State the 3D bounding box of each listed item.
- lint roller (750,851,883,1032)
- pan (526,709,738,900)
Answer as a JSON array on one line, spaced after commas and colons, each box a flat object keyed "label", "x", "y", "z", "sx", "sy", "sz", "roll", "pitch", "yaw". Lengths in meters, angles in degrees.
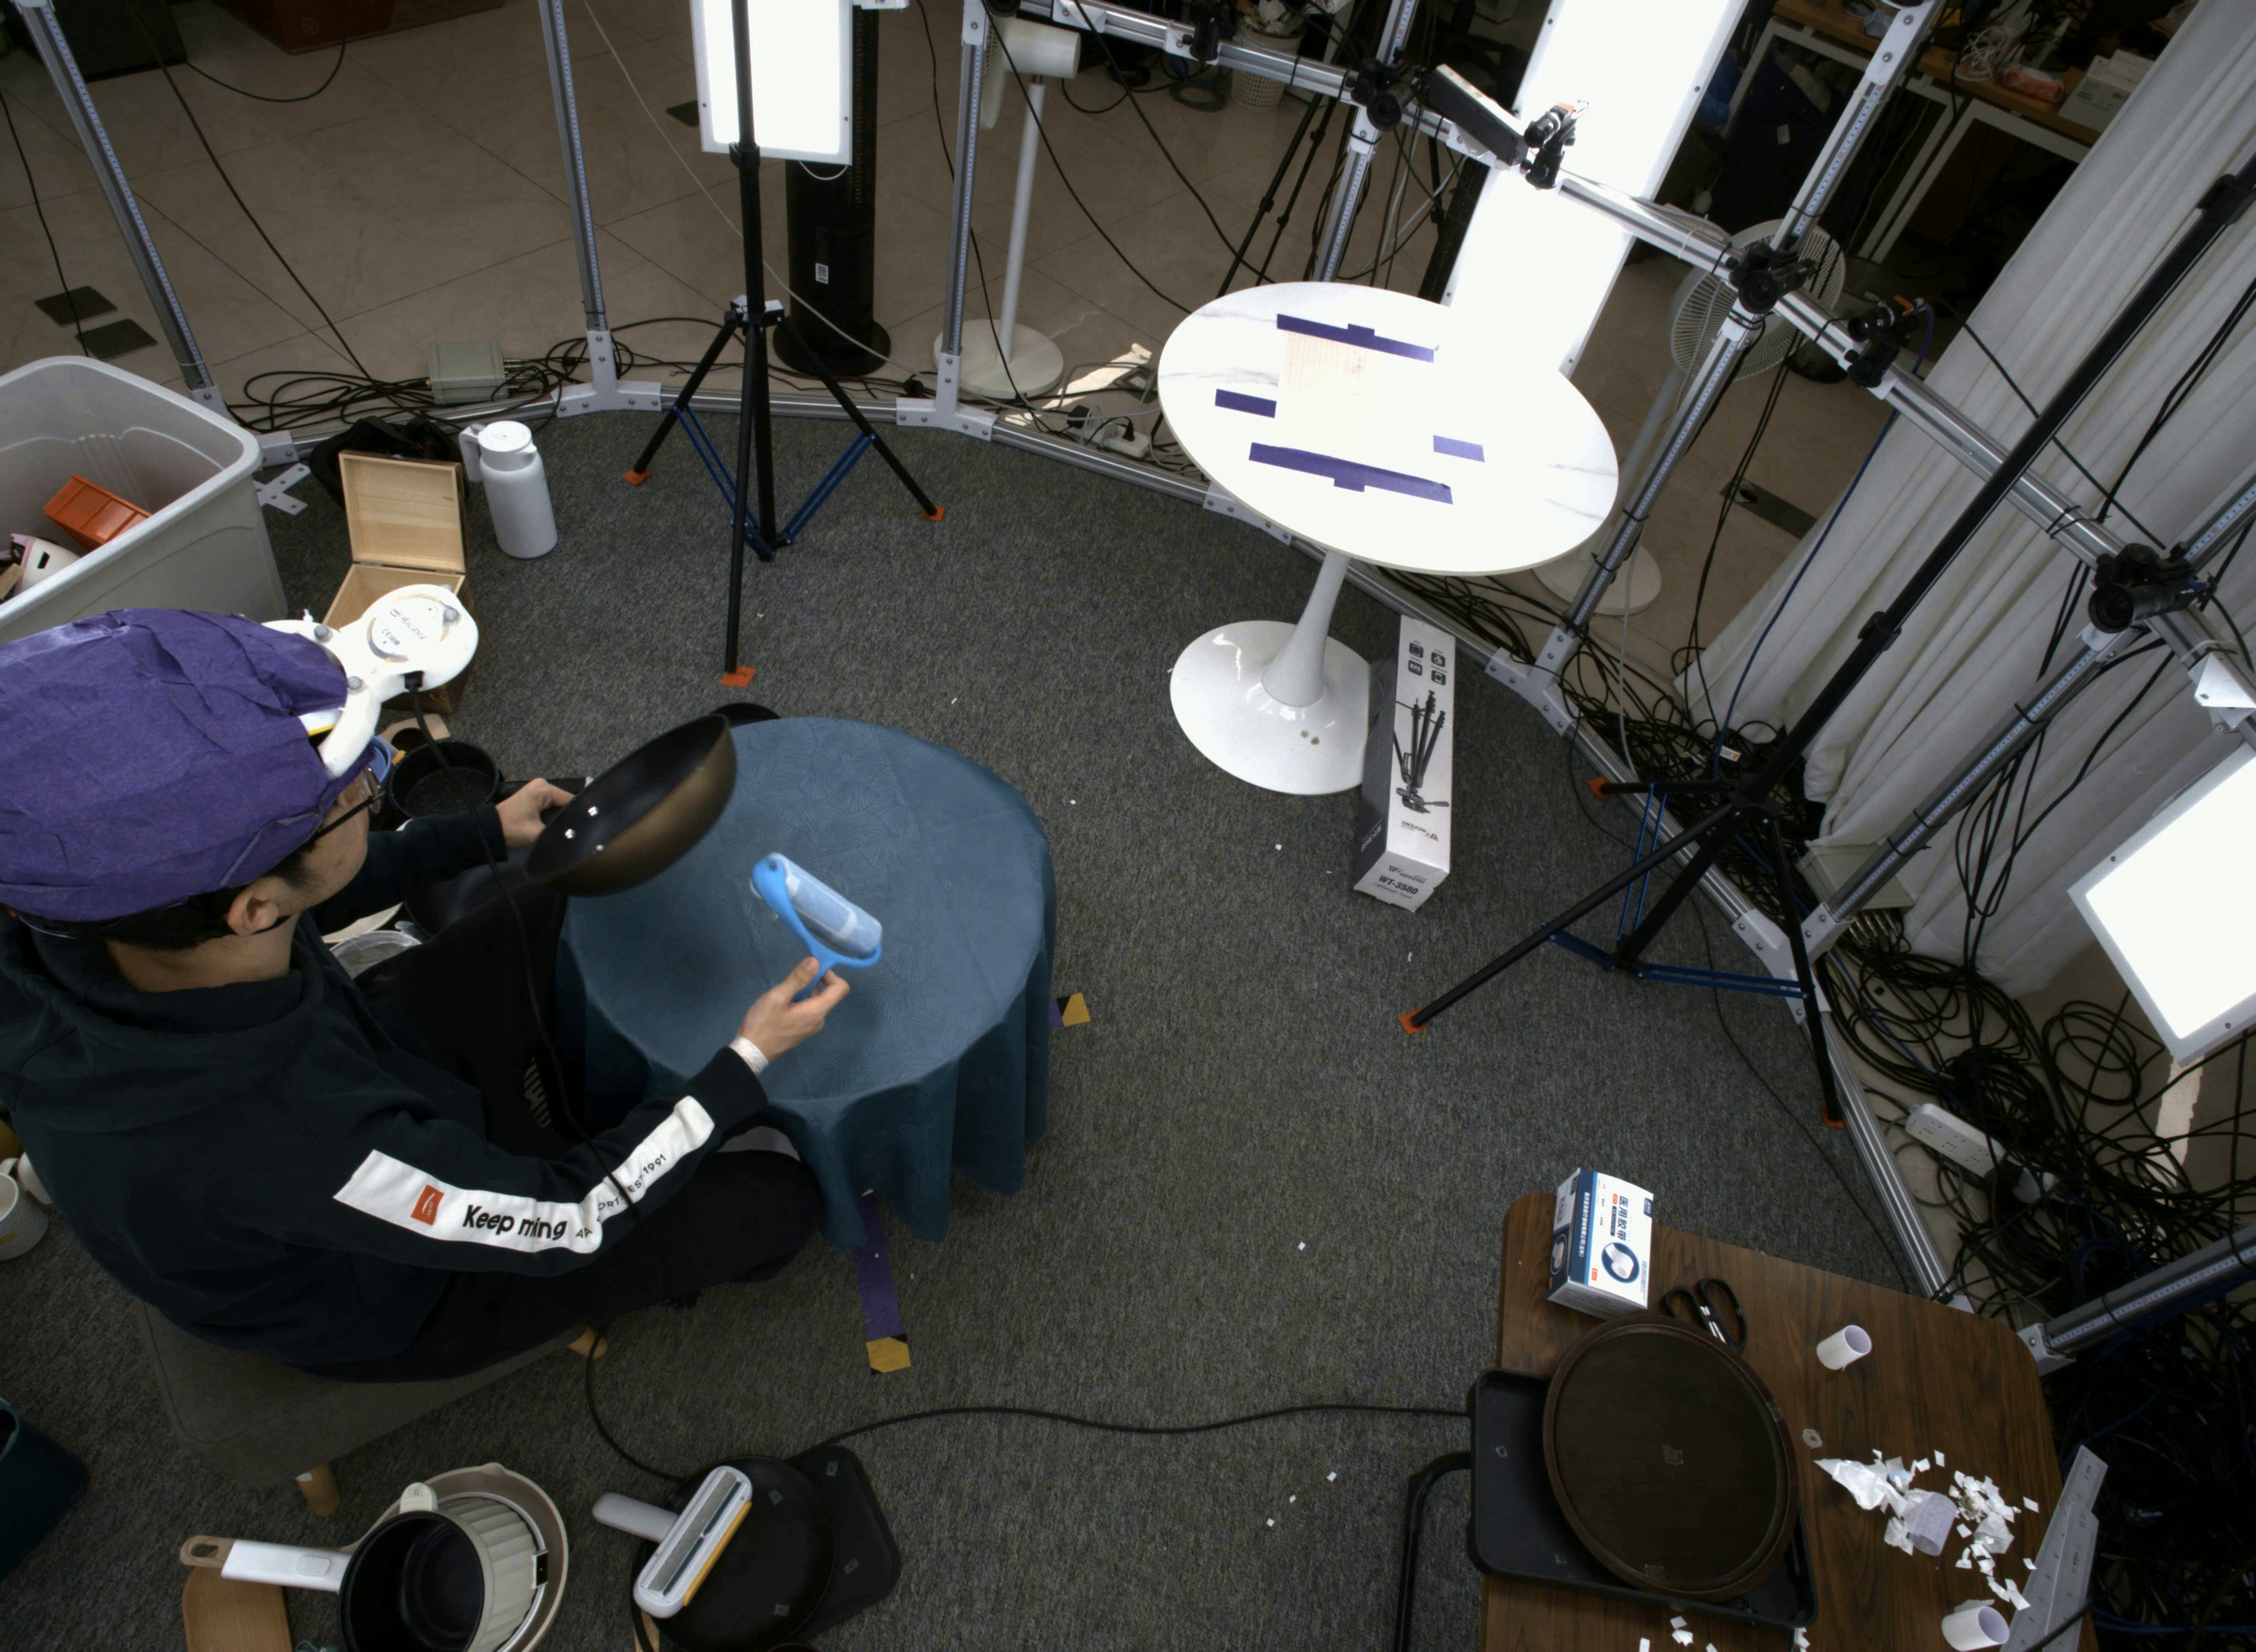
[{"label": "lint roller", "x": -0.364, "y": 0.146, "z": 1.465, "sx": 0.066, "sy": 0.236, "sz": 0.180, "roll": 6, "pitch": 71, "yaw": 23}, {"label": "pan", "x": -0.614, "y": 0.000, "z": 1.512, "sx": 0.090, "sy": 0.450, "sz": 0.286, "roll": 55, "pitch": 44, "yaw": -29}]
